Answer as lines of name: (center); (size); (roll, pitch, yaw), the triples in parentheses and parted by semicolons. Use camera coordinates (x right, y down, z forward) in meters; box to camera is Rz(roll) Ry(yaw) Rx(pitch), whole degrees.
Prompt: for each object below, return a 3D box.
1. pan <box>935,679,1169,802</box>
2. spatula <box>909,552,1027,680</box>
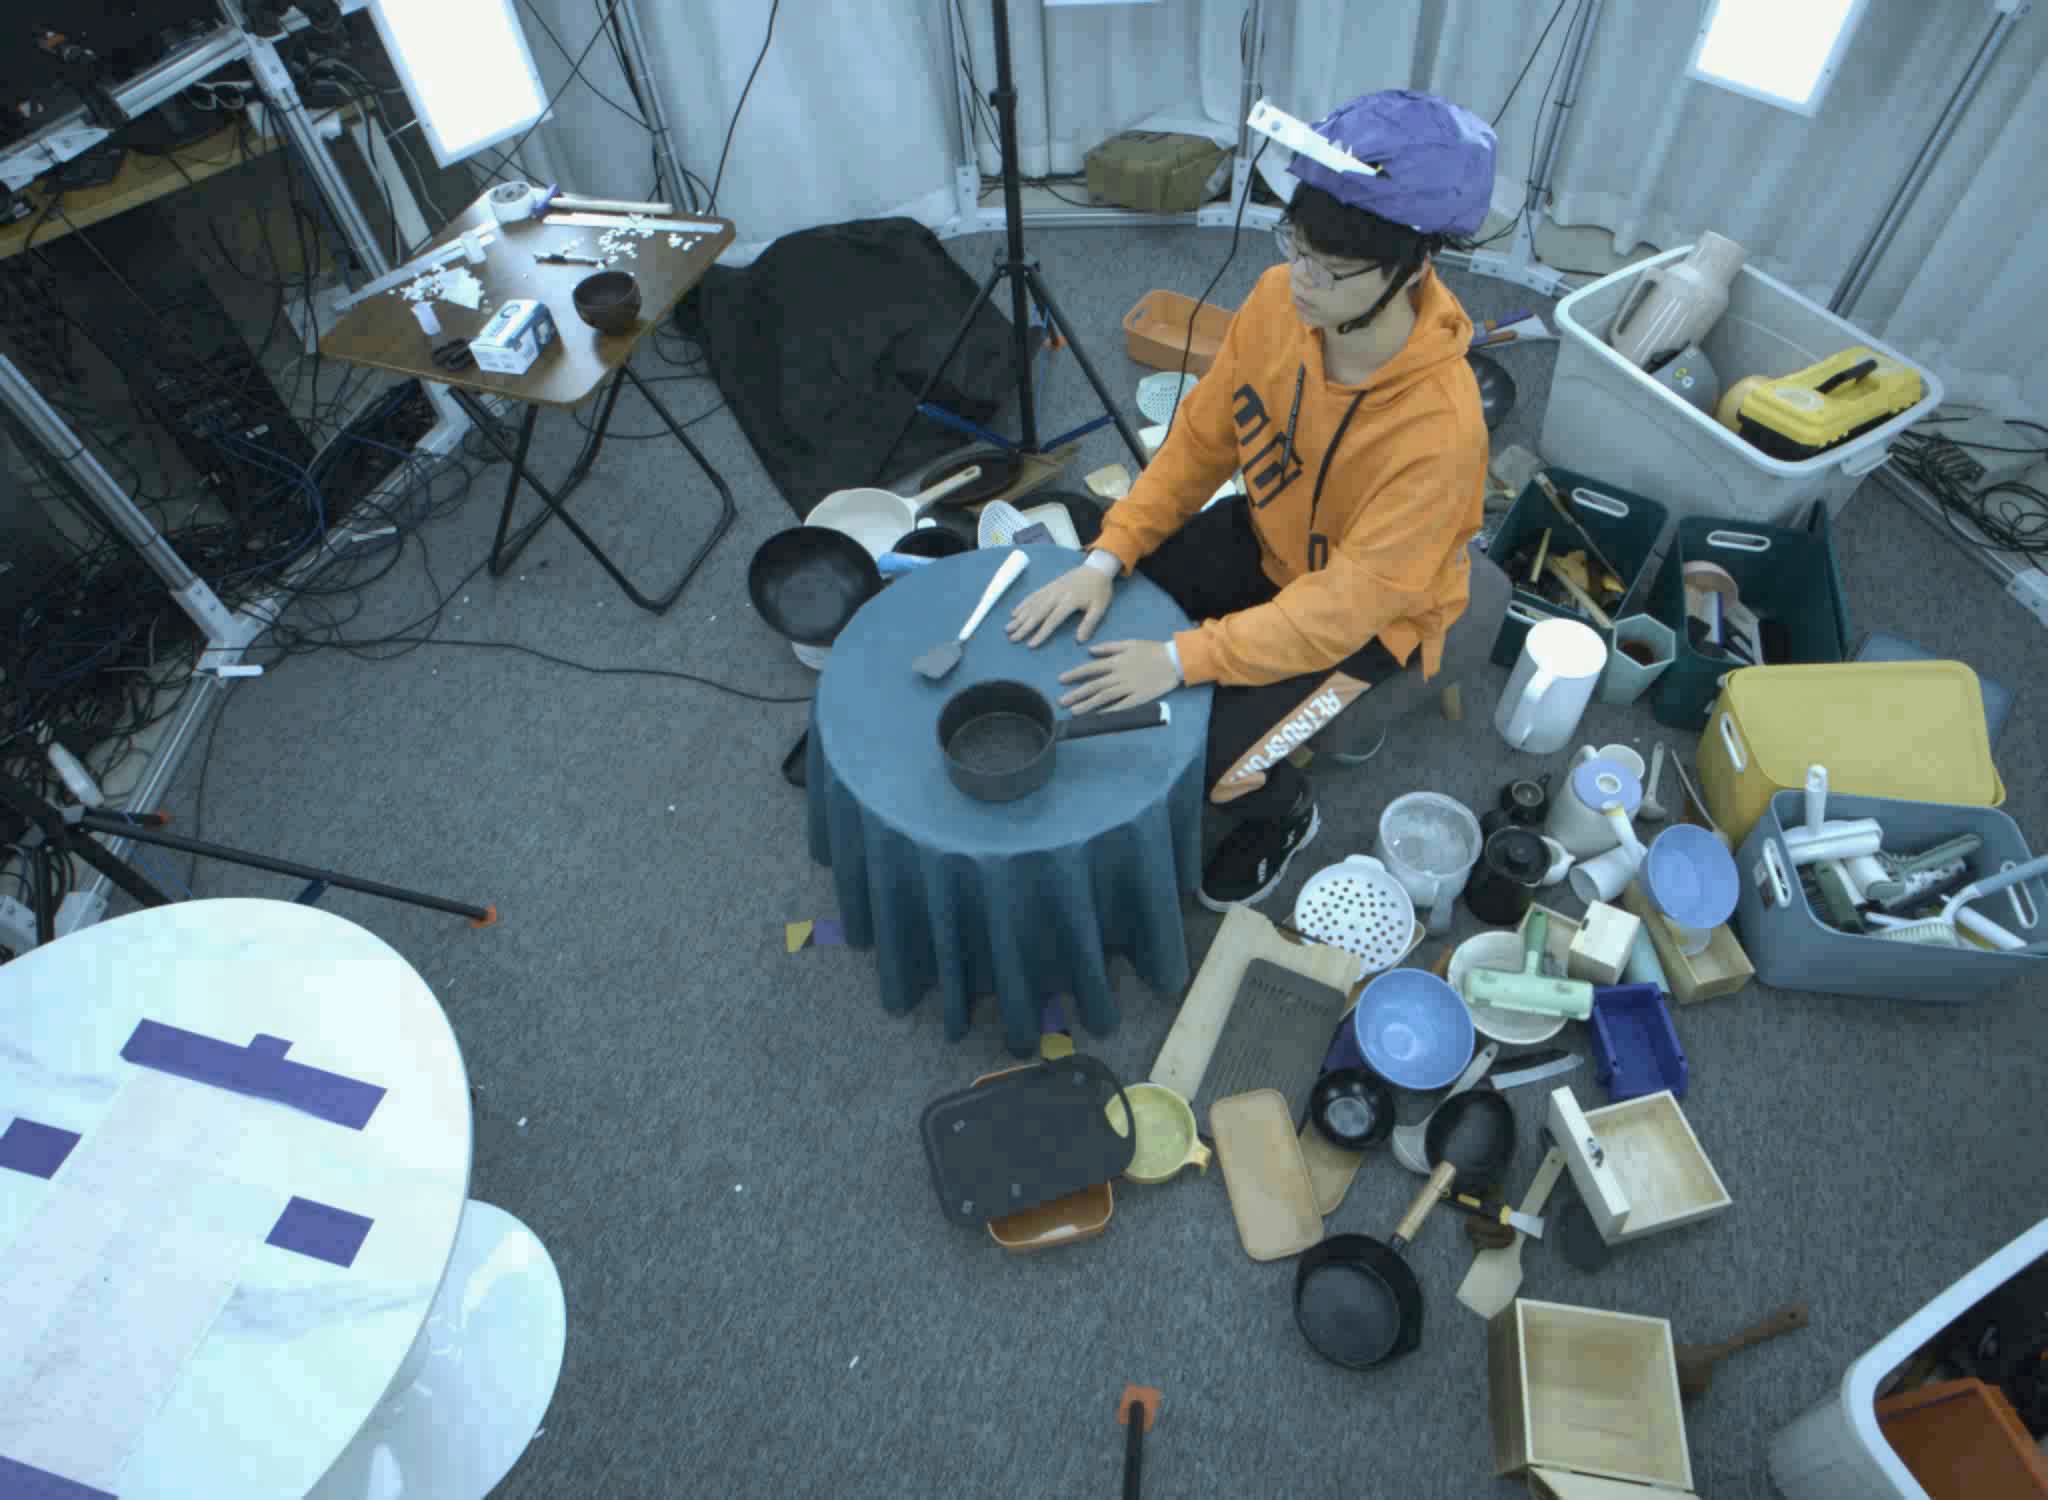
pan: (0.042, -0.018, 1.746); (0.328, 0.087, 0.170); (-3, 55, 3)
spatula: (-0.081, -0.208, 1.918); (0.058, 0.032, 0.288); (27, 59, 14)
